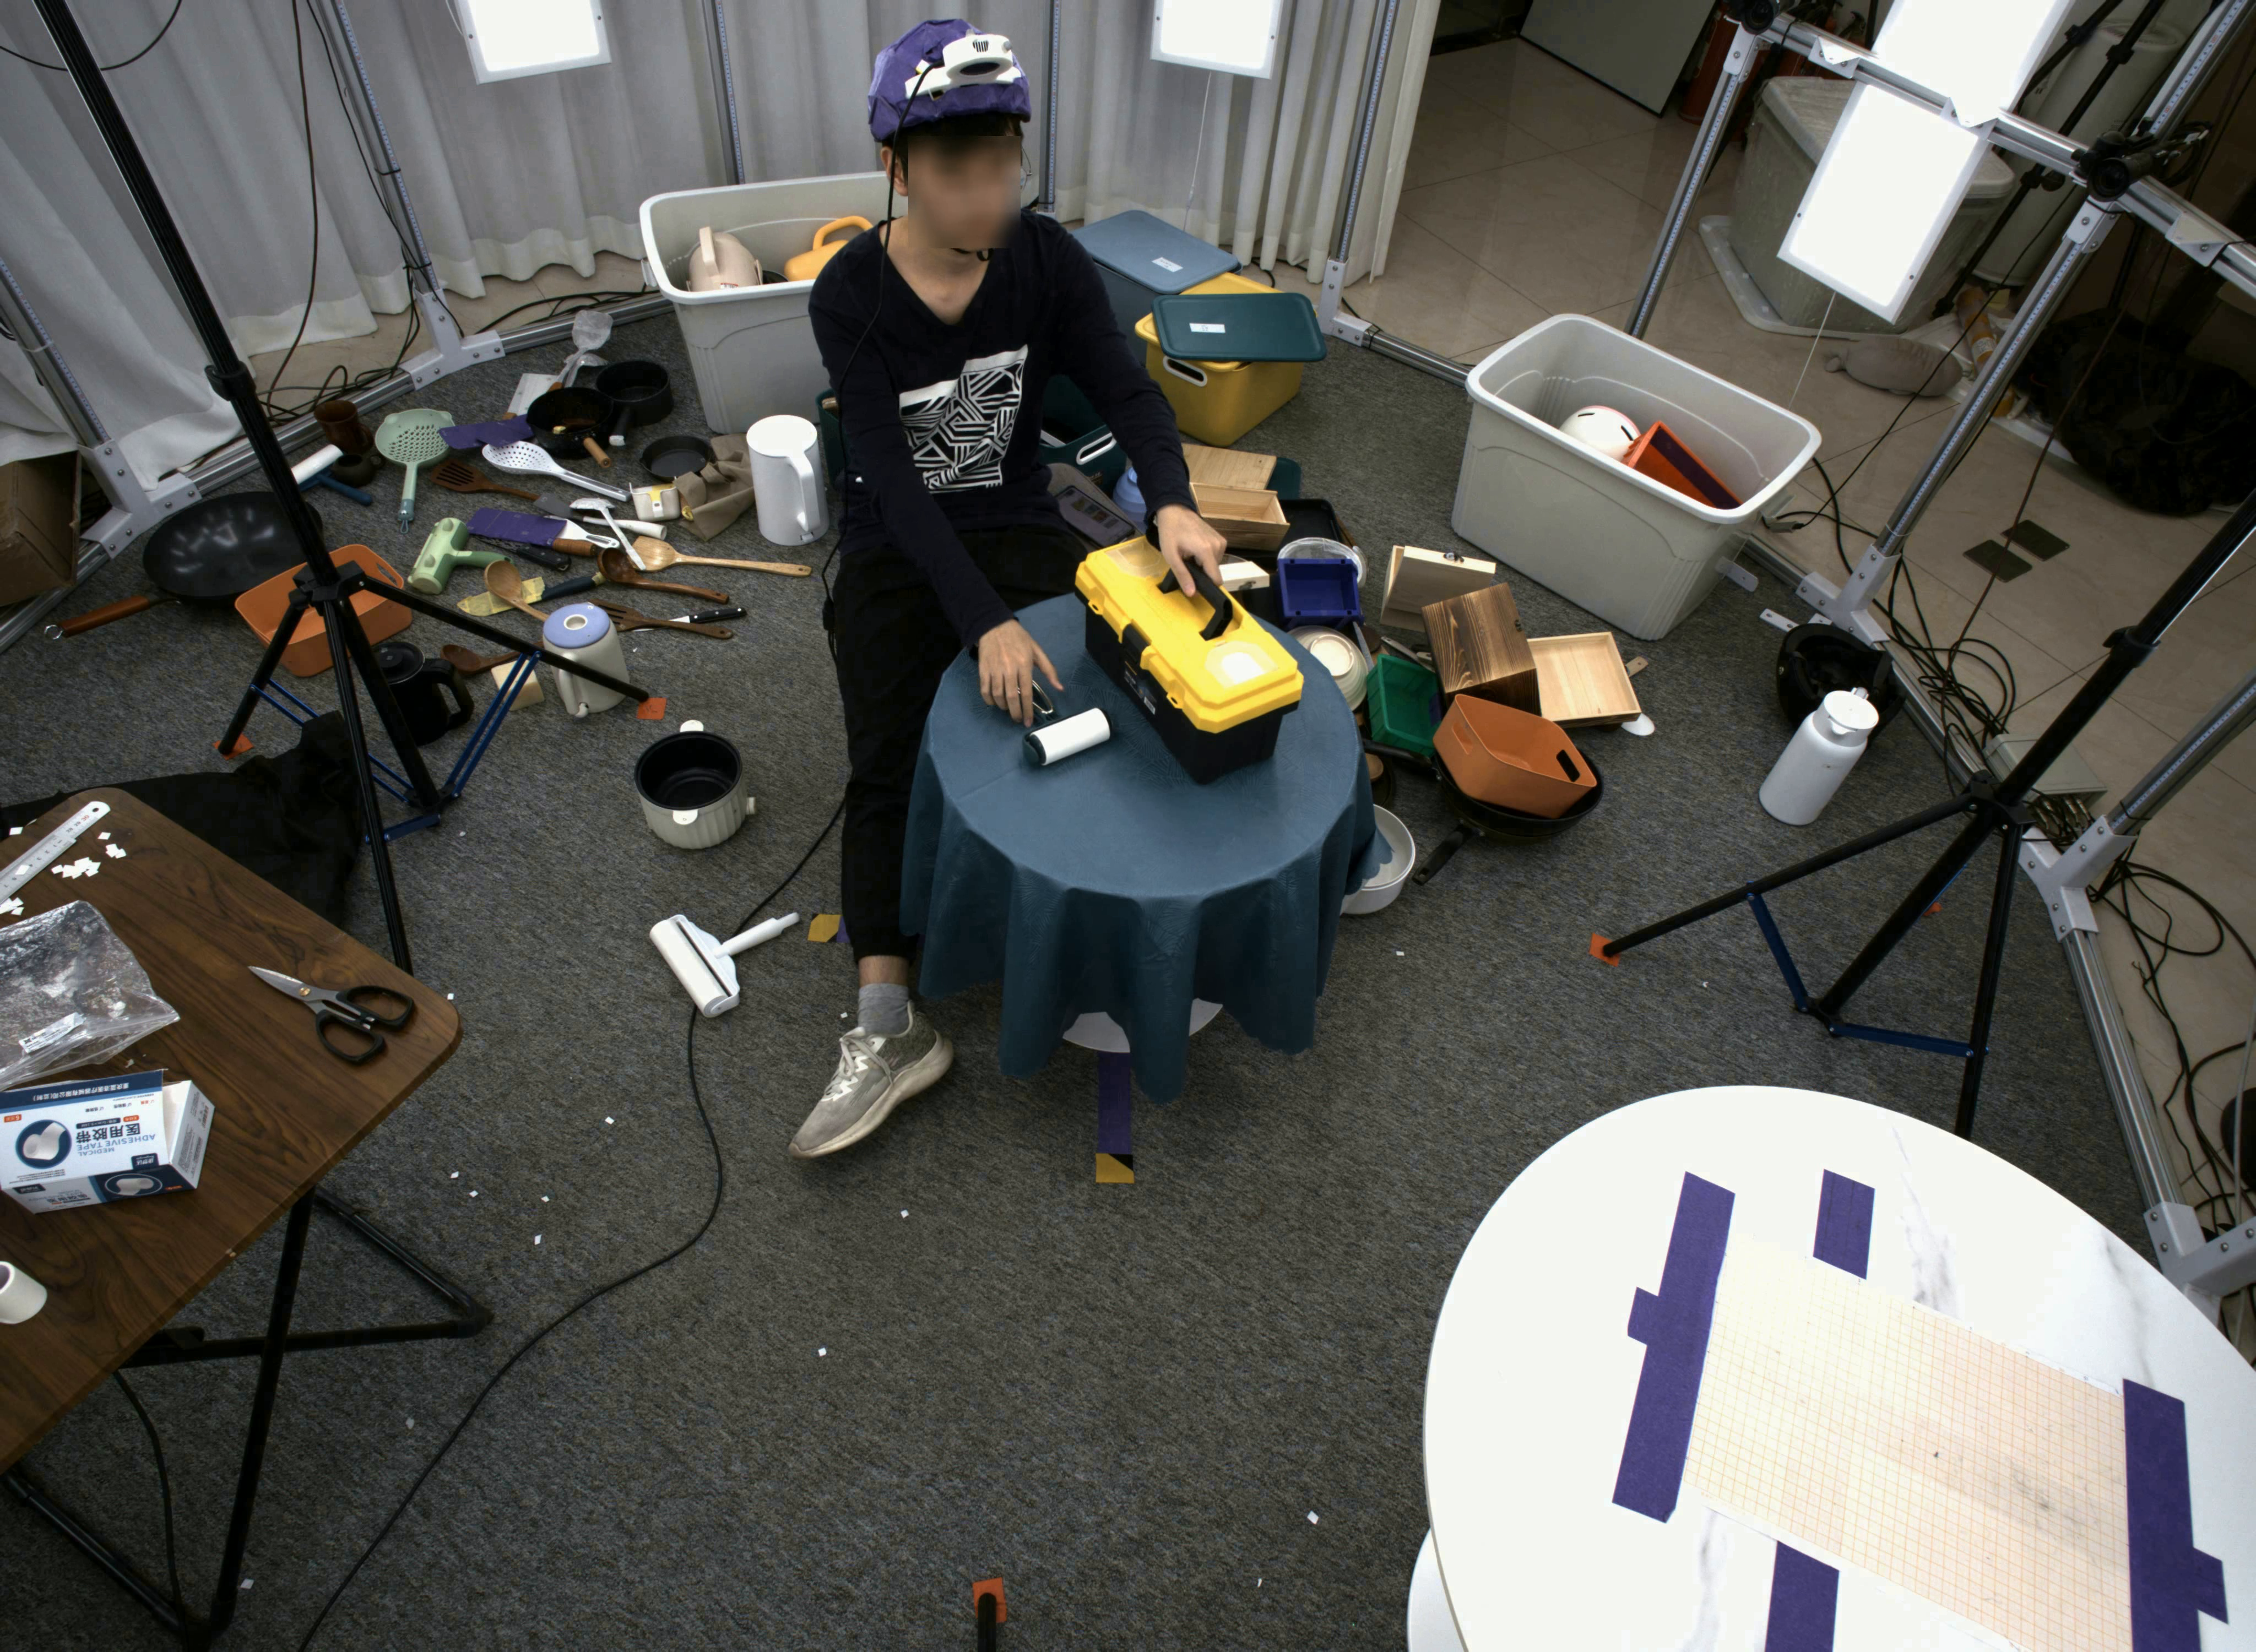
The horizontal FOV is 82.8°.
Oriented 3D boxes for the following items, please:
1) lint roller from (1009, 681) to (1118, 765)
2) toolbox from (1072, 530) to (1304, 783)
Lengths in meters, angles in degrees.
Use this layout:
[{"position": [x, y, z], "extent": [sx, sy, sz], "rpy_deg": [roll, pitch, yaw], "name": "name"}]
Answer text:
[{"position": [-0.115, -0.164, 1.776], "extent": [0.135, 0.047, 0.184], "rpy_deg": [-24, 51, -21], "name": "lint roller"}, {"position": [0.073, -0.235, 1.764], "extent": [0.182, 0.168, 0.359], "rpy_deg": [-22, 54, -22], "name": "toolbox"}]
